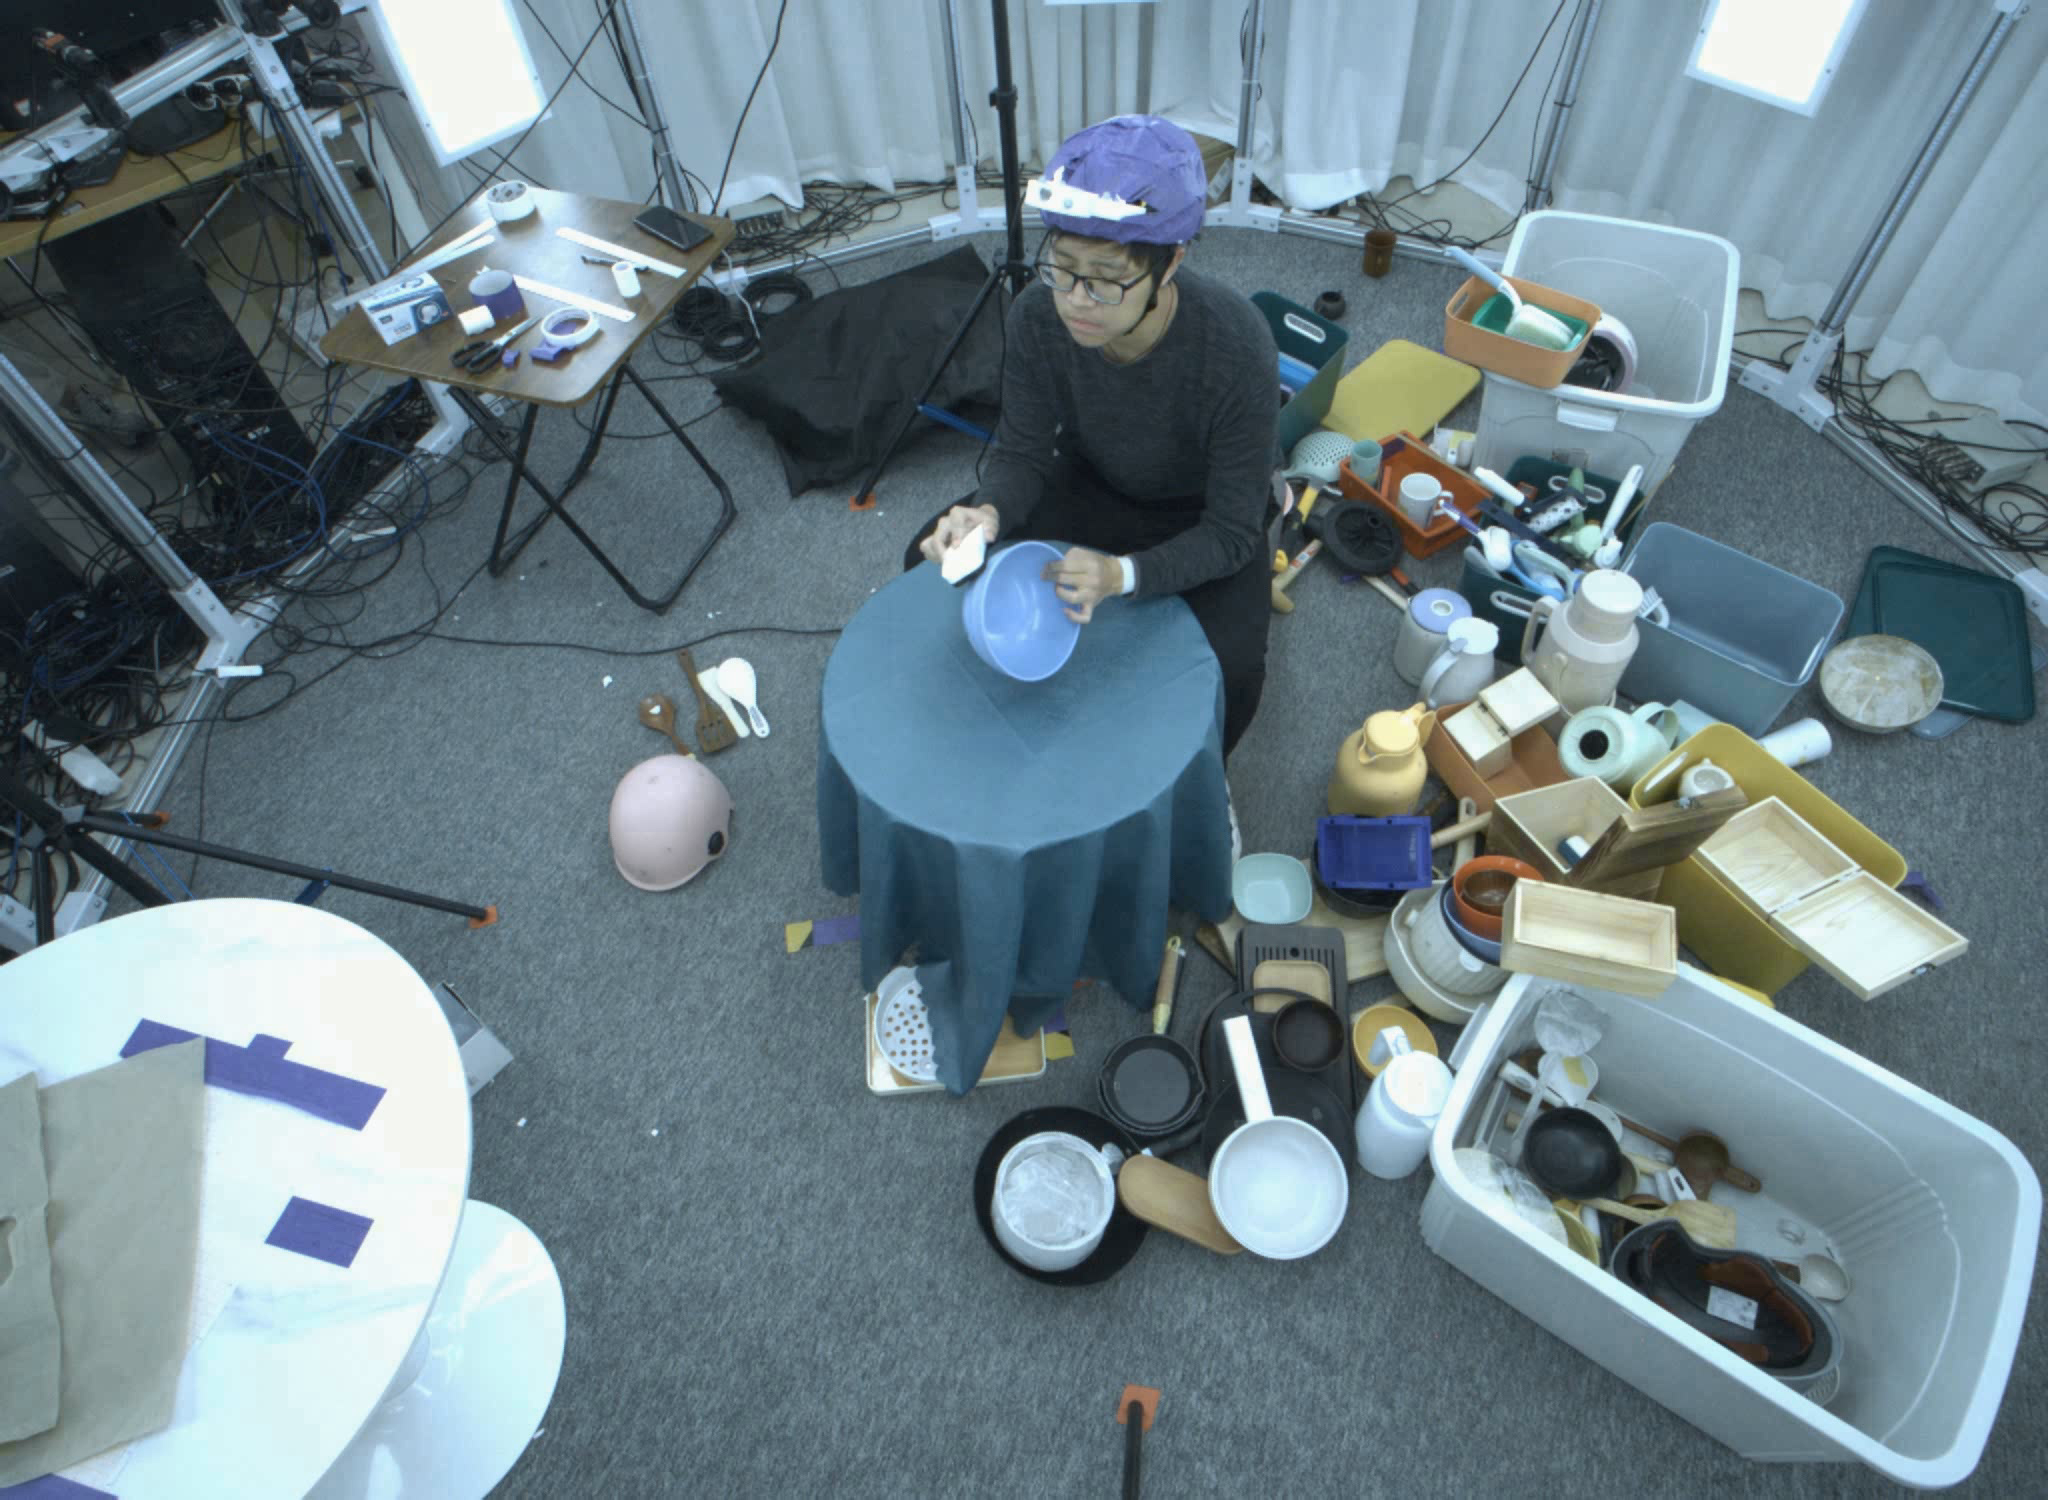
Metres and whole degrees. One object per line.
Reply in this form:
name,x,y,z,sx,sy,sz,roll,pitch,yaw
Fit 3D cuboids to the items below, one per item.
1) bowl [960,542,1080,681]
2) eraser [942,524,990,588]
bowl,-0.021,-0.200,1.768,0.093,0.200,0.197,9,50,46
eraser,-0.082,-0.278,1.732,0.063,0.035,0.130,-28,28,19
